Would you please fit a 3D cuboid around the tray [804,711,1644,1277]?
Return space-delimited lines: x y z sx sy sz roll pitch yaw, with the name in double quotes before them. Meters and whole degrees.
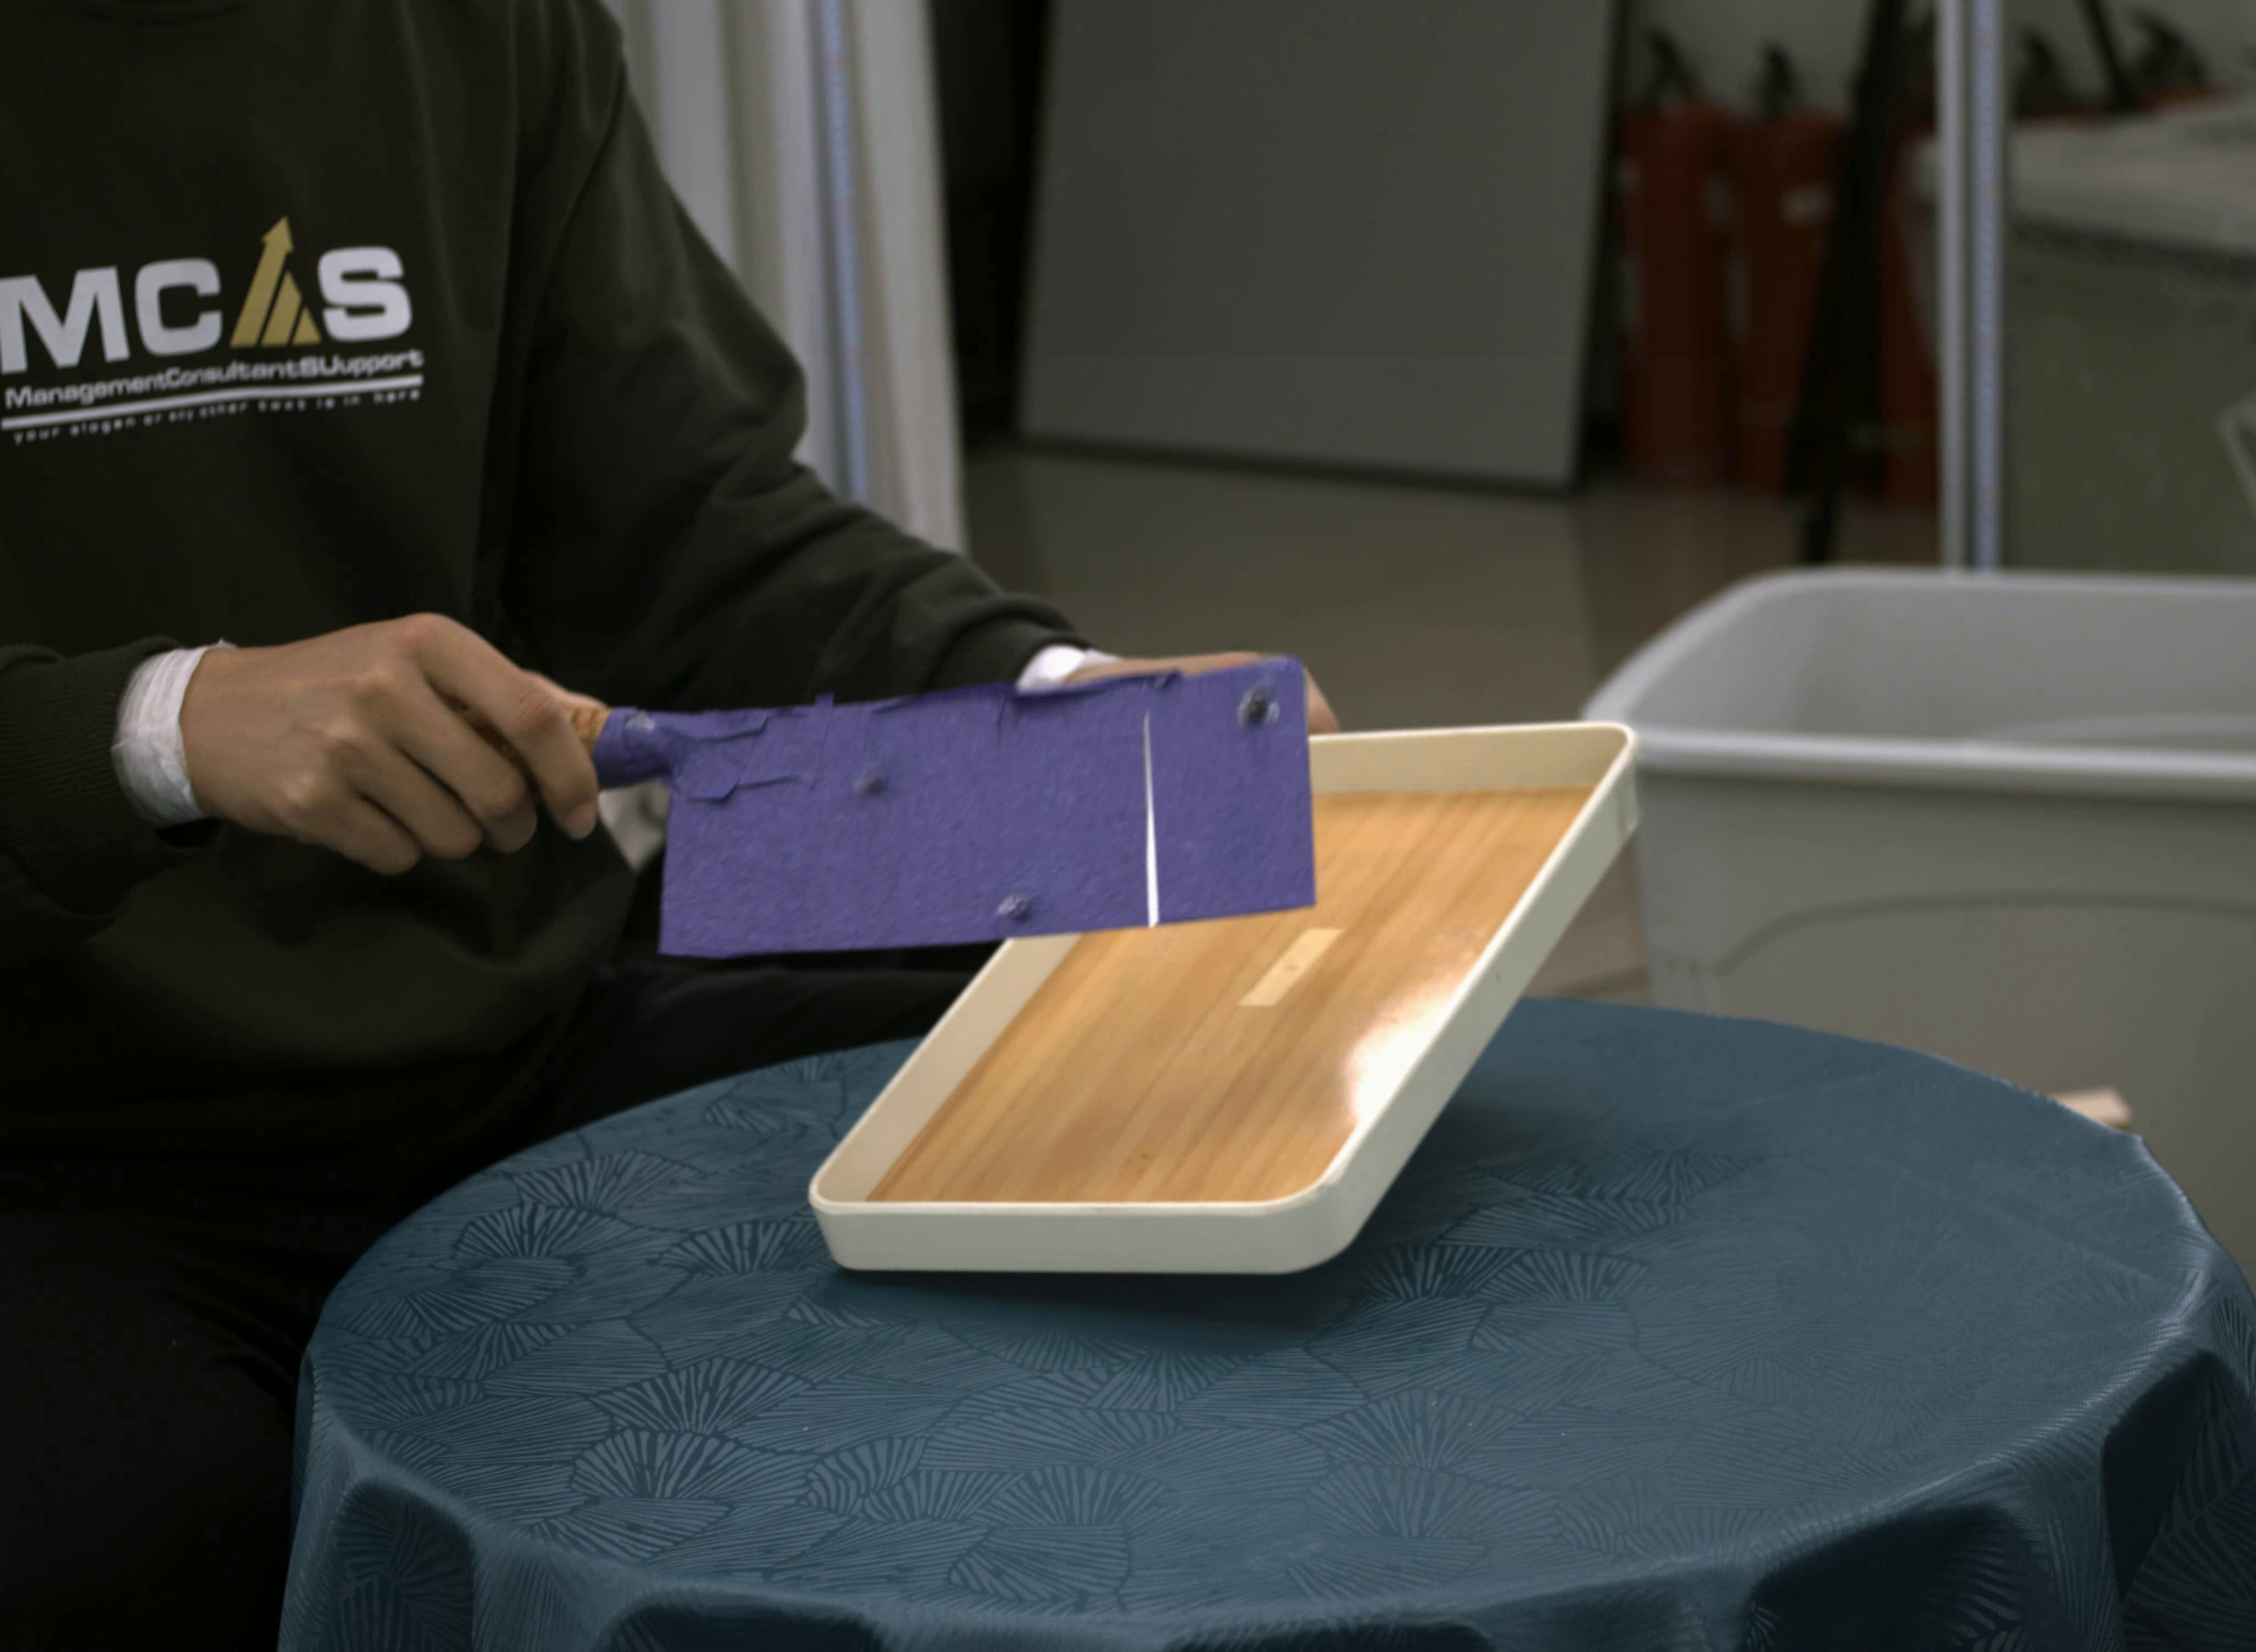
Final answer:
"tray" 0.037 0.052 1.762 0.192 0.027 0.298 -4 28 32

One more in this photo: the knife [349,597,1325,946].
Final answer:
"knife" -0.094 -0.009 1.691 0.313 0.105 0.032 -8 -32 11
